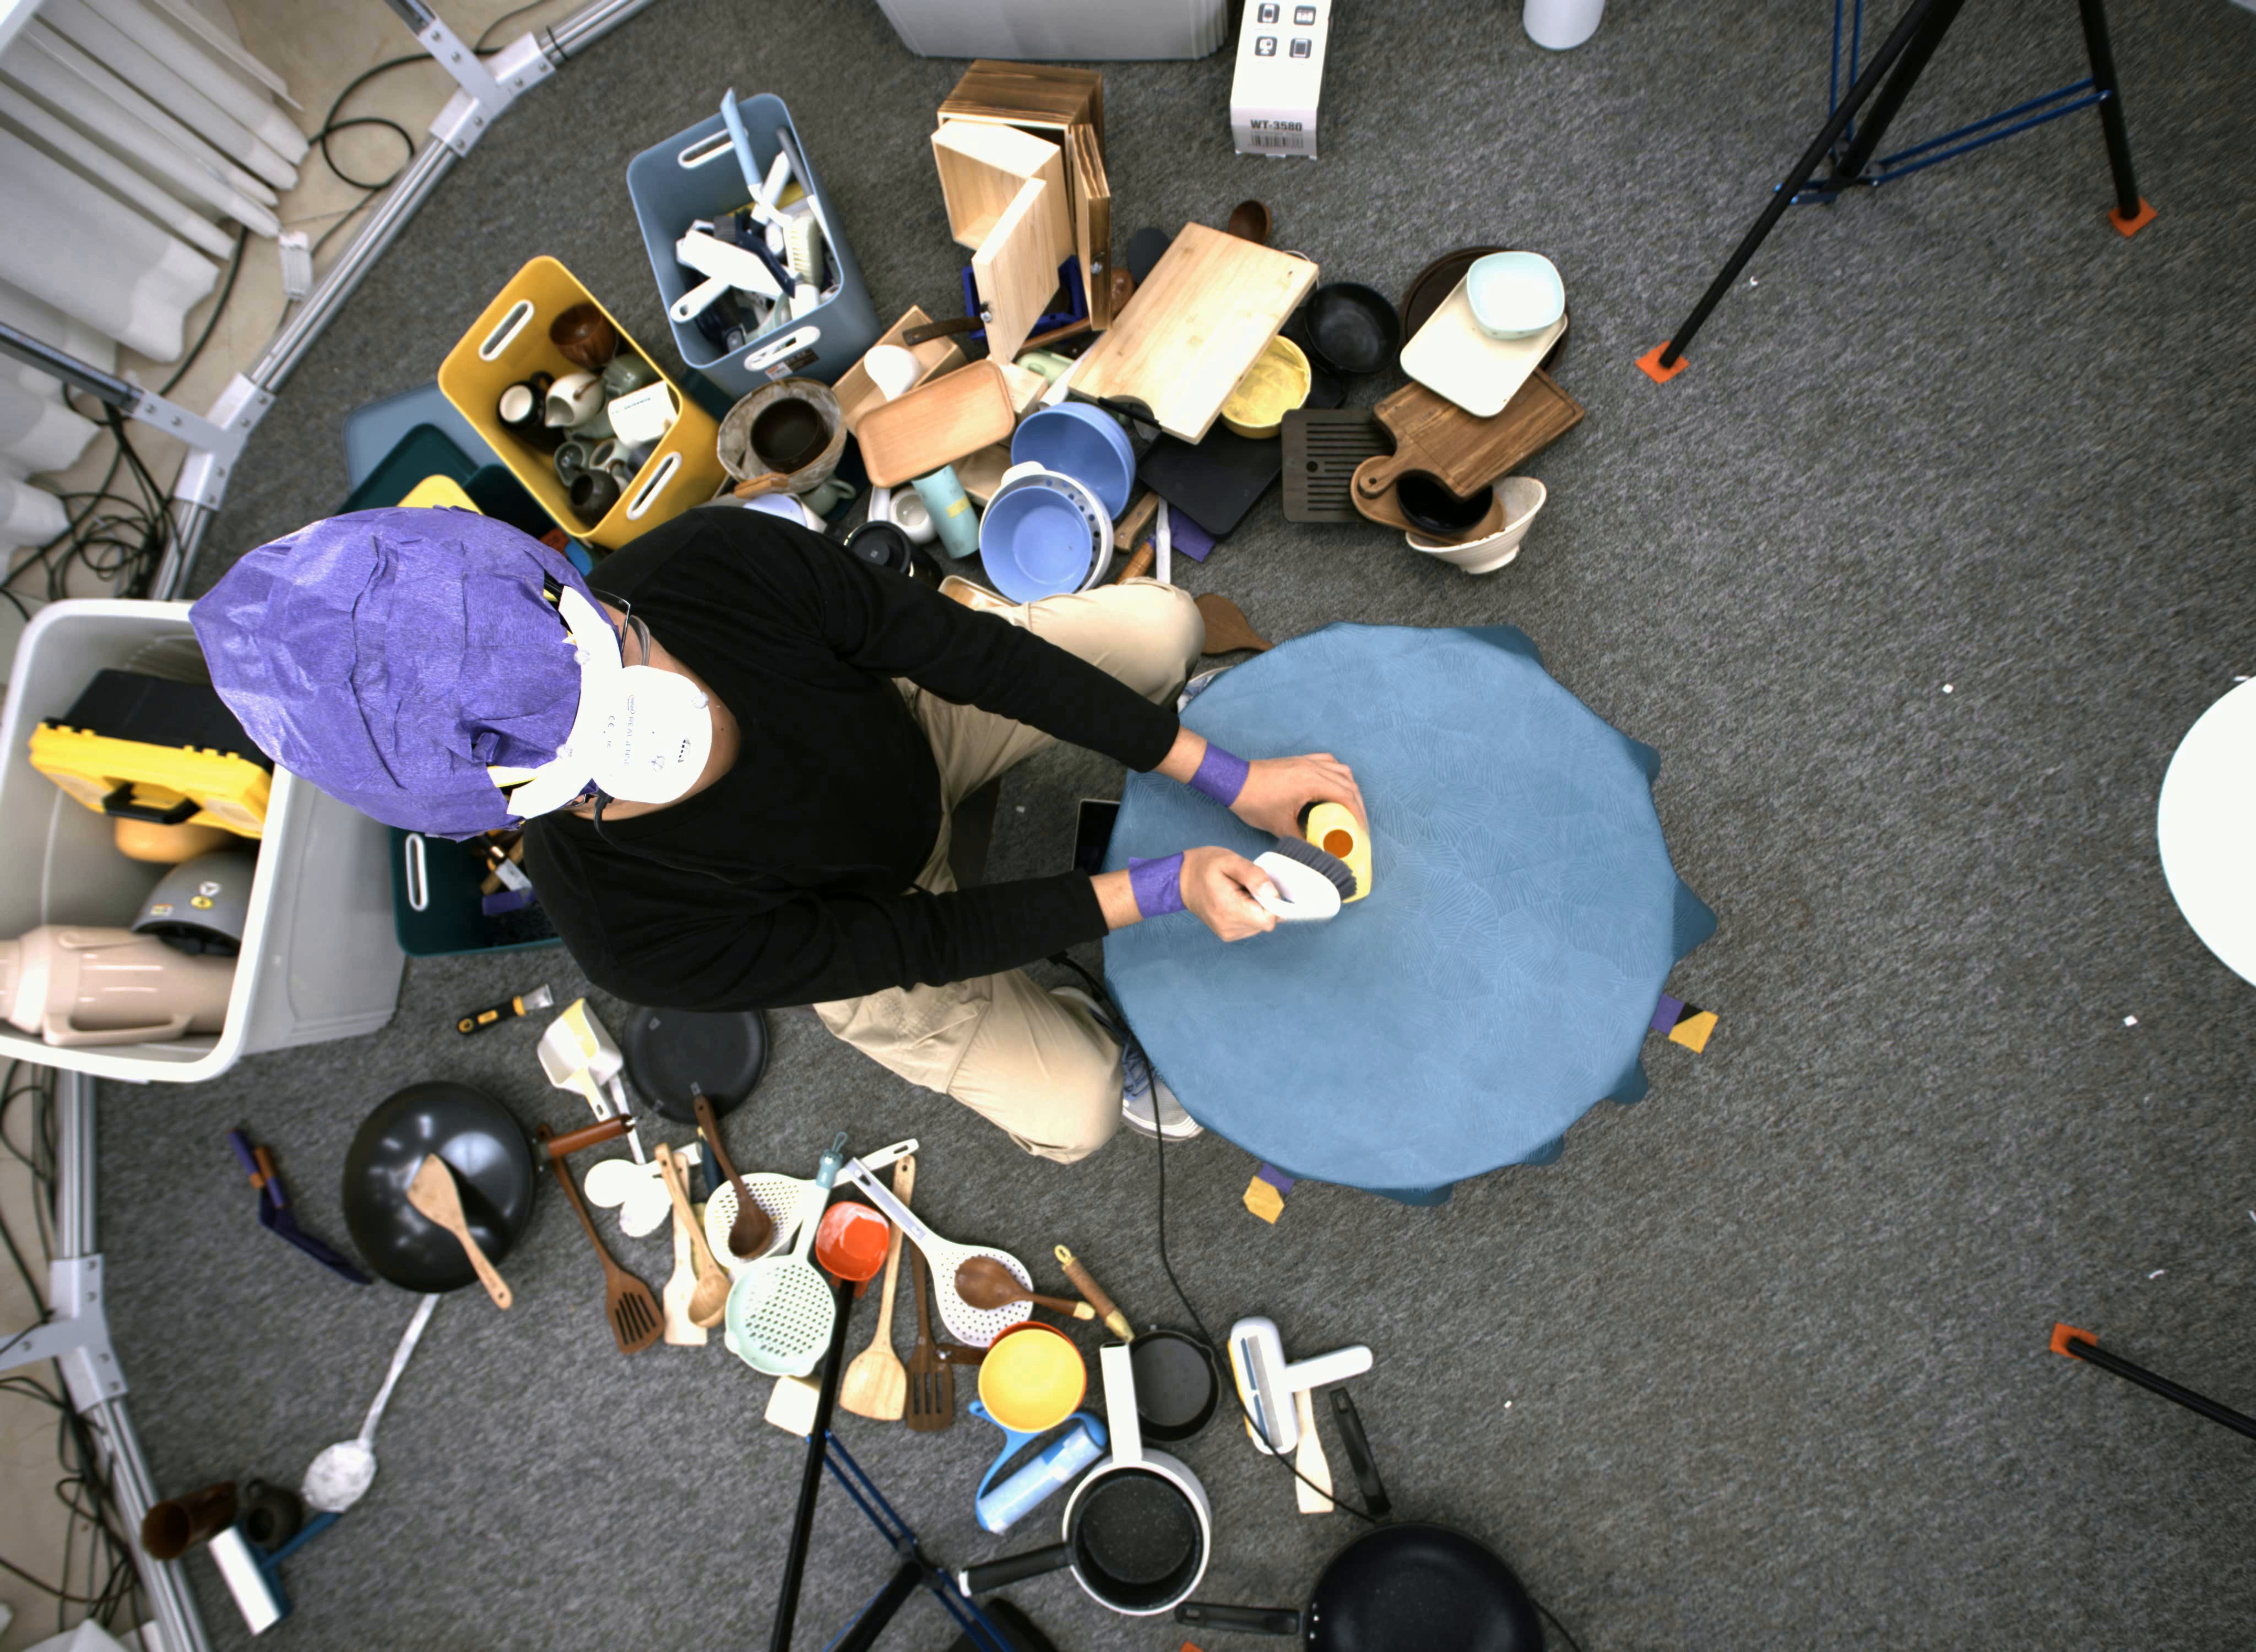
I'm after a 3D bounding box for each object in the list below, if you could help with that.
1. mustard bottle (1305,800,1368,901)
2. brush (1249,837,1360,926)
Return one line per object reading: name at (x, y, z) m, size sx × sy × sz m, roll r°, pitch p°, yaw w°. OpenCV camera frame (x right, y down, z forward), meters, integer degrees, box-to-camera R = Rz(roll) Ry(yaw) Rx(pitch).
mustard bottle at (0.210, 0.024, 1.387) m, size 0.059 × 0.172 × 0.098 m, roll -18°, pitch 84°, yaw 8°
brush at (0.159, 0.058, 1.309) m, size 0.071 × 0.051 × 0.098 m, roll -39°, pitch 48°, yaw -26°
